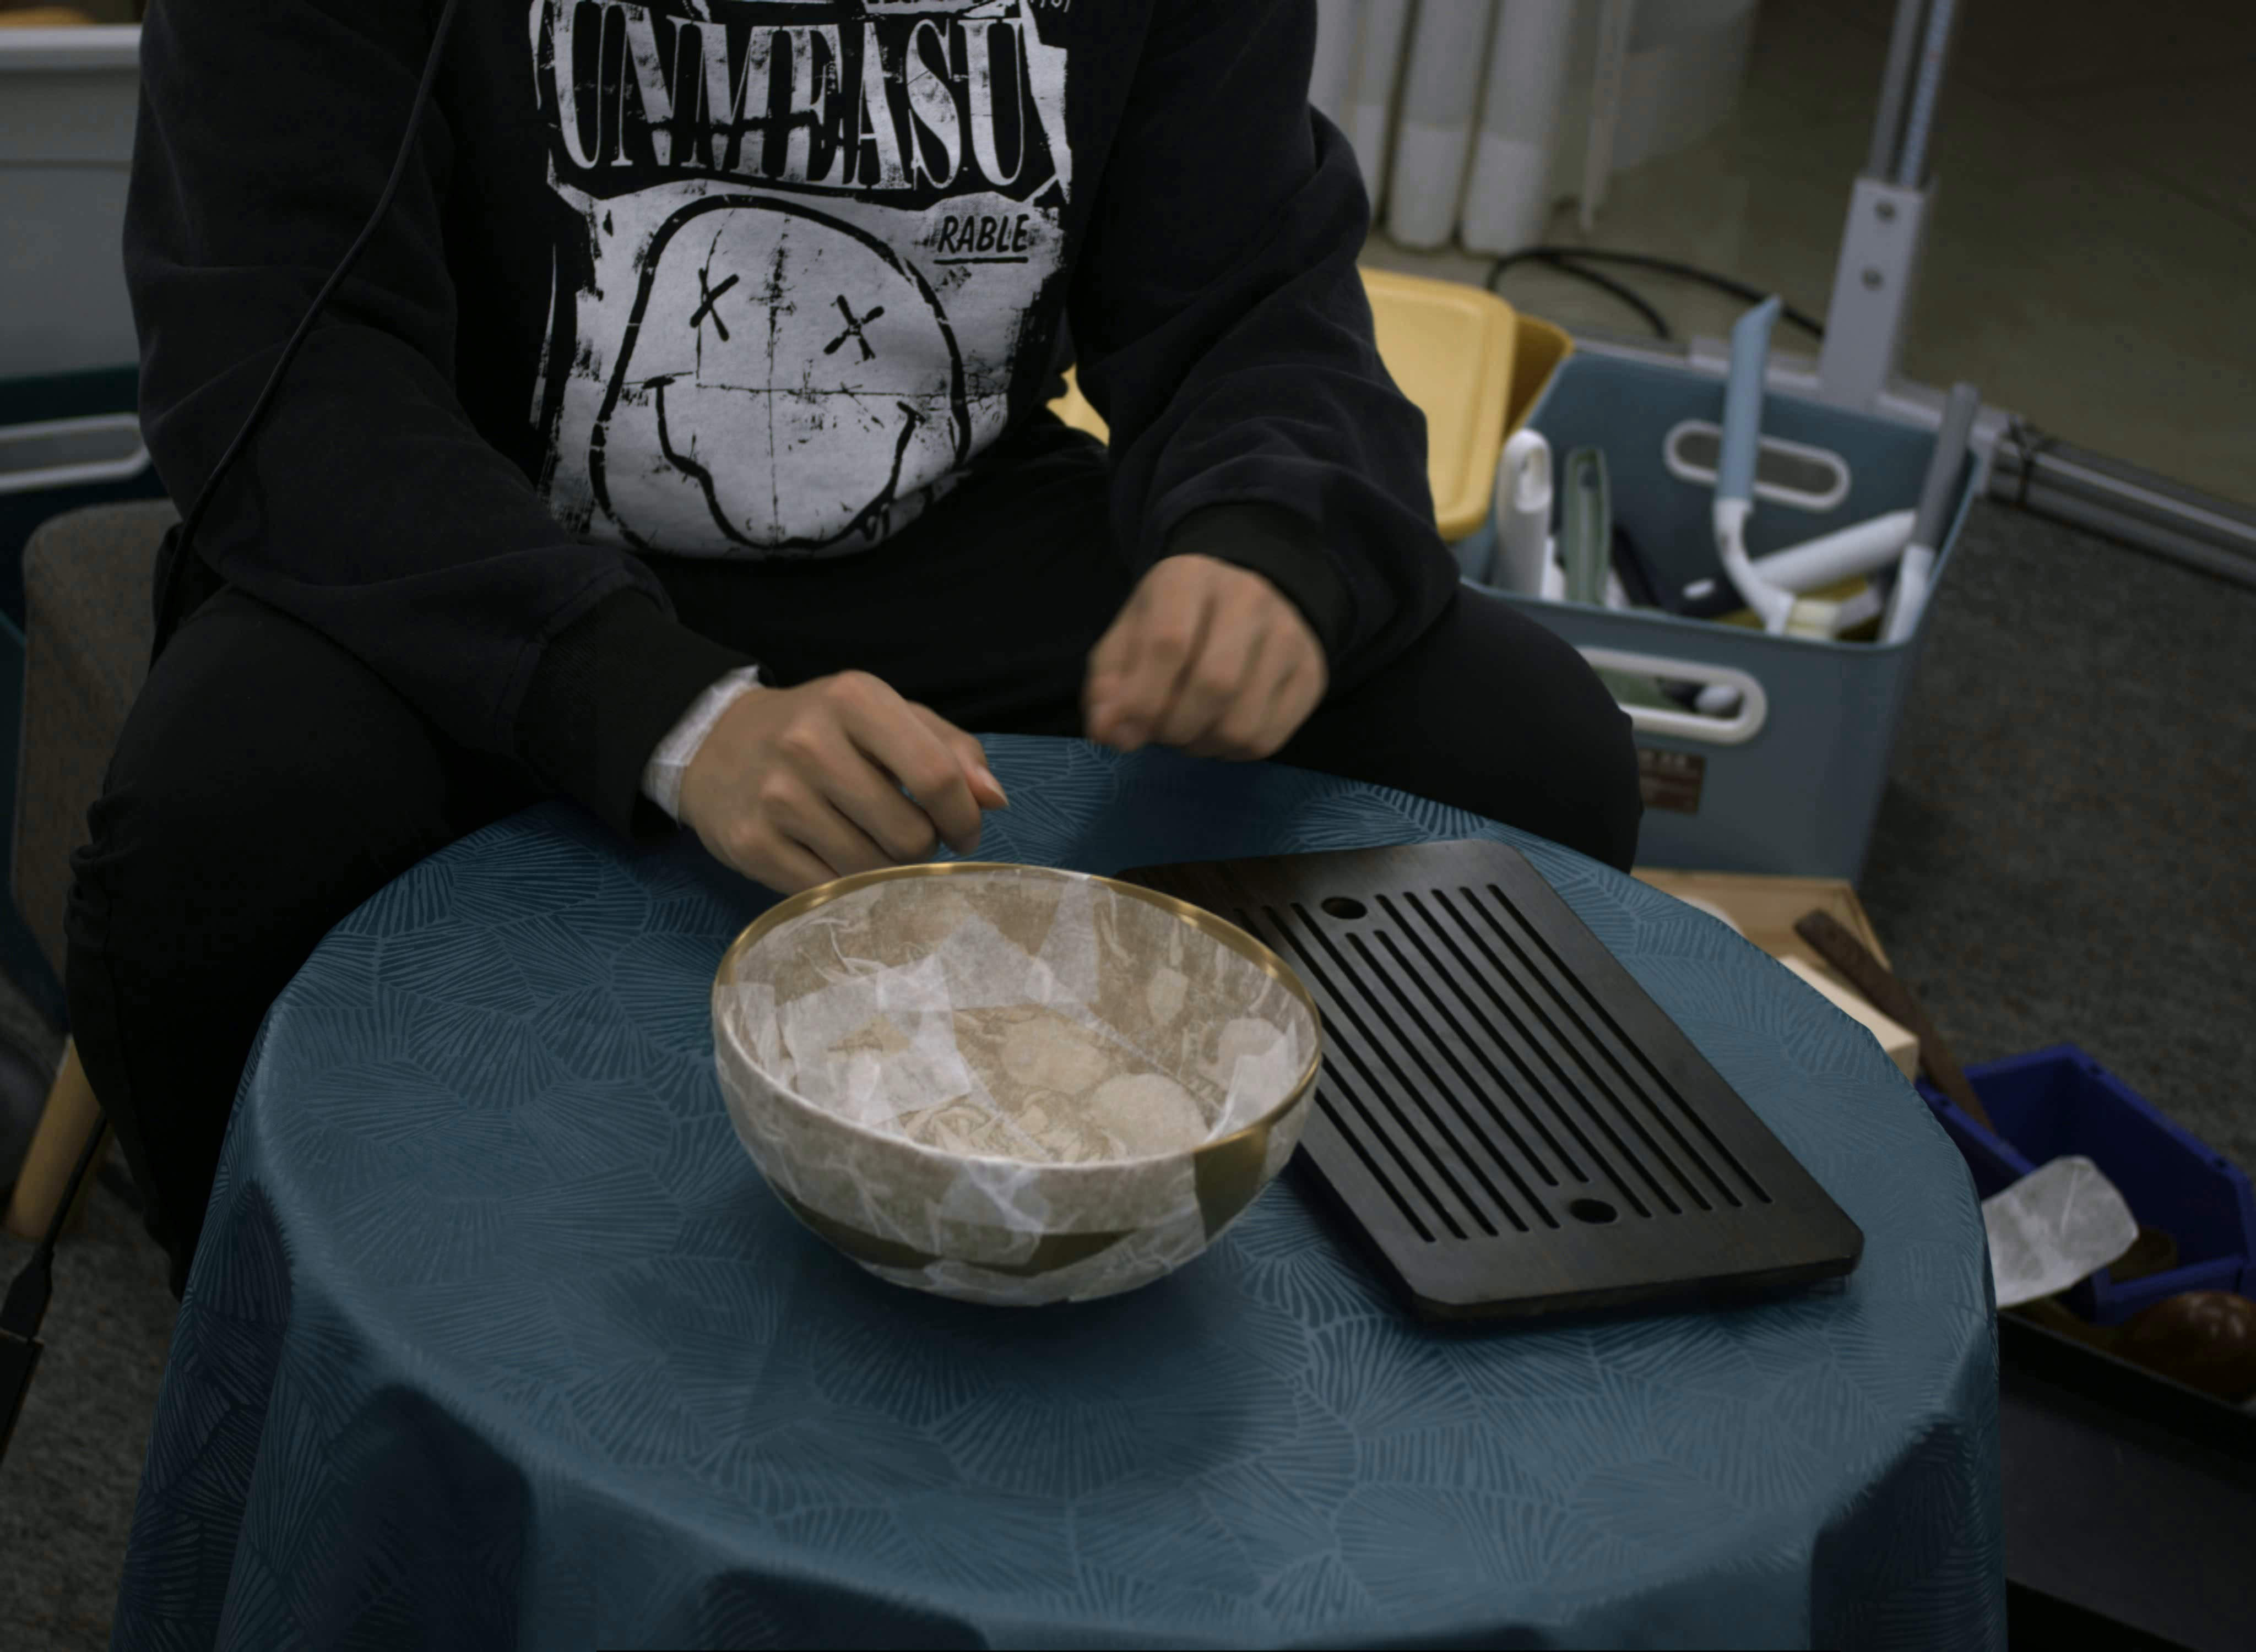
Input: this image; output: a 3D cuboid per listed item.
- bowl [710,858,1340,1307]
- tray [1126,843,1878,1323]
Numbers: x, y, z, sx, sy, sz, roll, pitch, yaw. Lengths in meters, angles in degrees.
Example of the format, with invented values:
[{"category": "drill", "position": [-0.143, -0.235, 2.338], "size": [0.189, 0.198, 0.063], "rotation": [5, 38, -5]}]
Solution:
[{"category": "bowl", "position": [-0.036, 0.095, 1.745], "size": [0.214, 0.094, 0.216], "rotation": [4, 27, -2]}, {"category": "tray", "position": [0.123, 0.088, 1.880], "size": [0.169, 0.018, 0.308], "rotation": [-5, 28, -21]}]
